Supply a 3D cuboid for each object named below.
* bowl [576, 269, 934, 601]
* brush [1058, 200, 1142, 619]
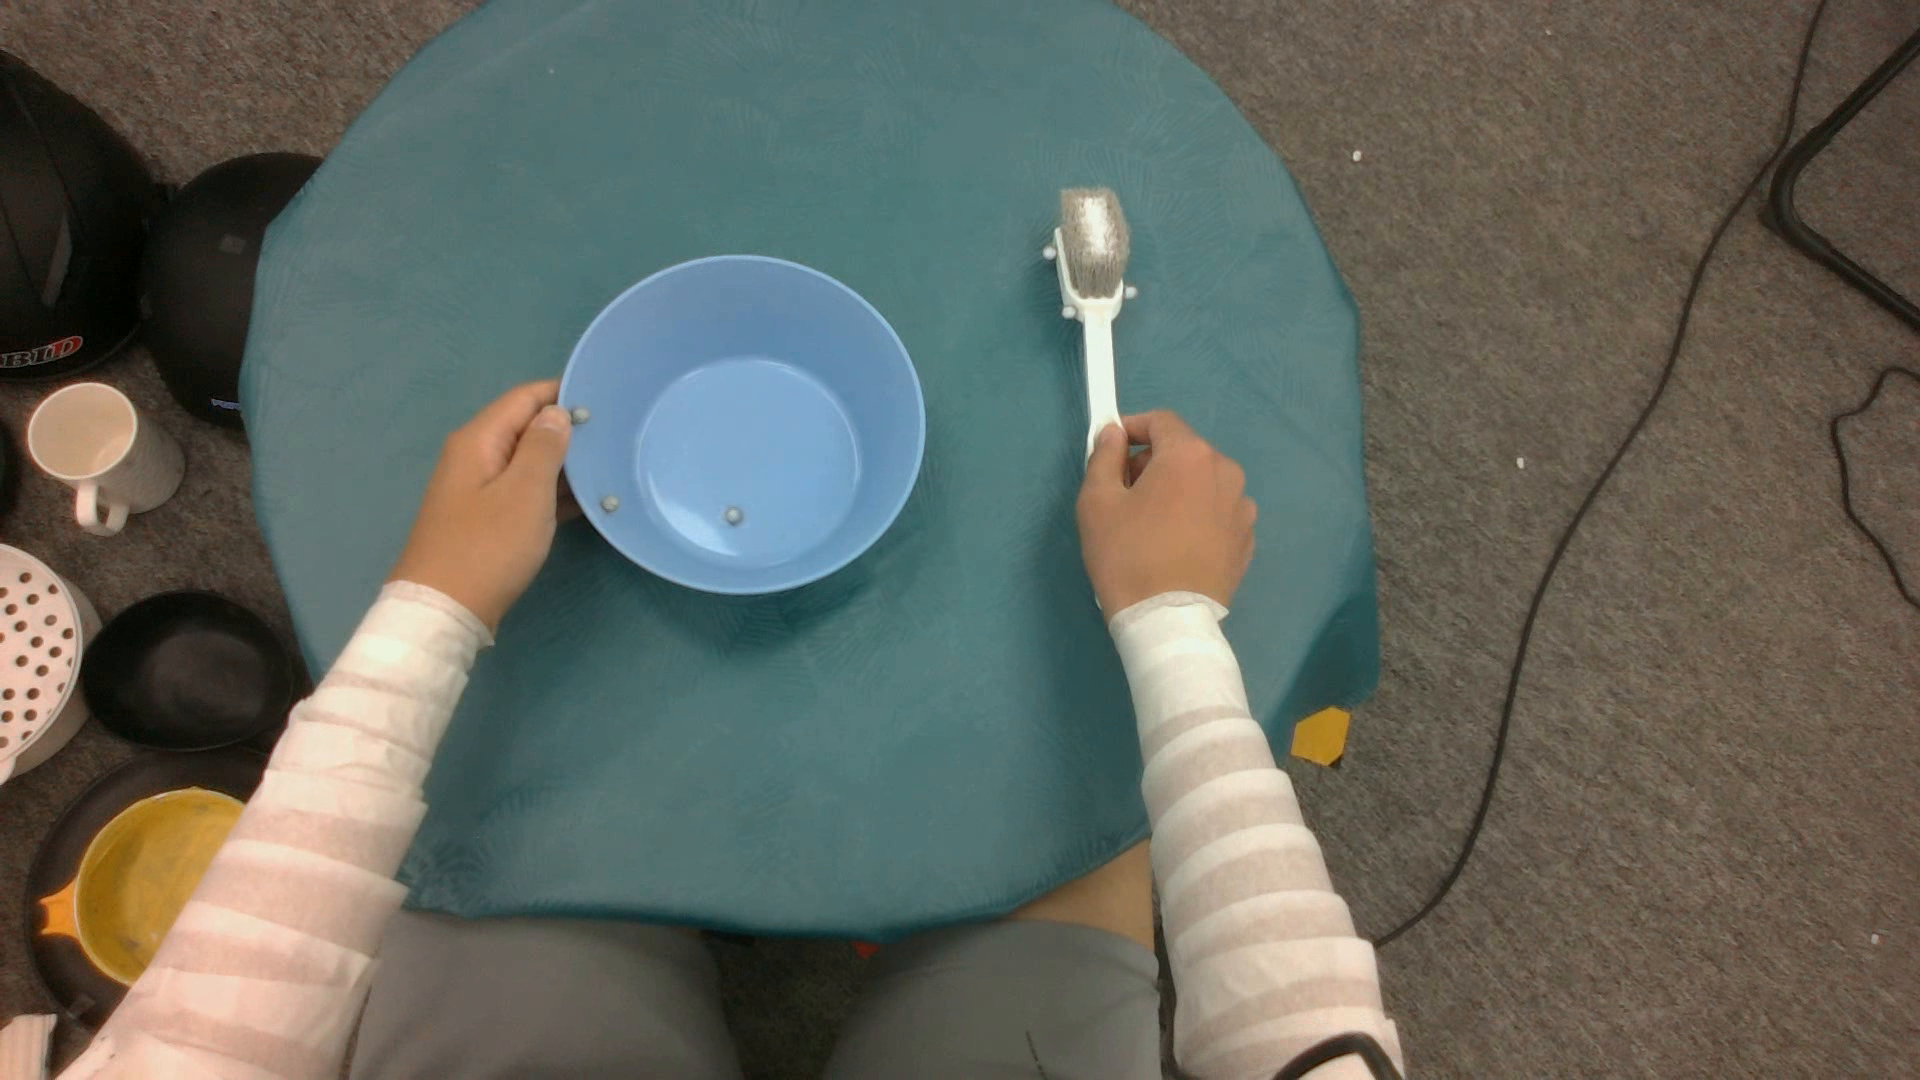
[{"bbox_3d":[-0.103,-0.046,0.710,0.176,0.070,0.176,2,73,-5],"label":"bowl"},{"bbox_3d":[0.079,-0.079,0.742,0.034,0.050,0.244,-1,67,-4],"label":"brush"}]
